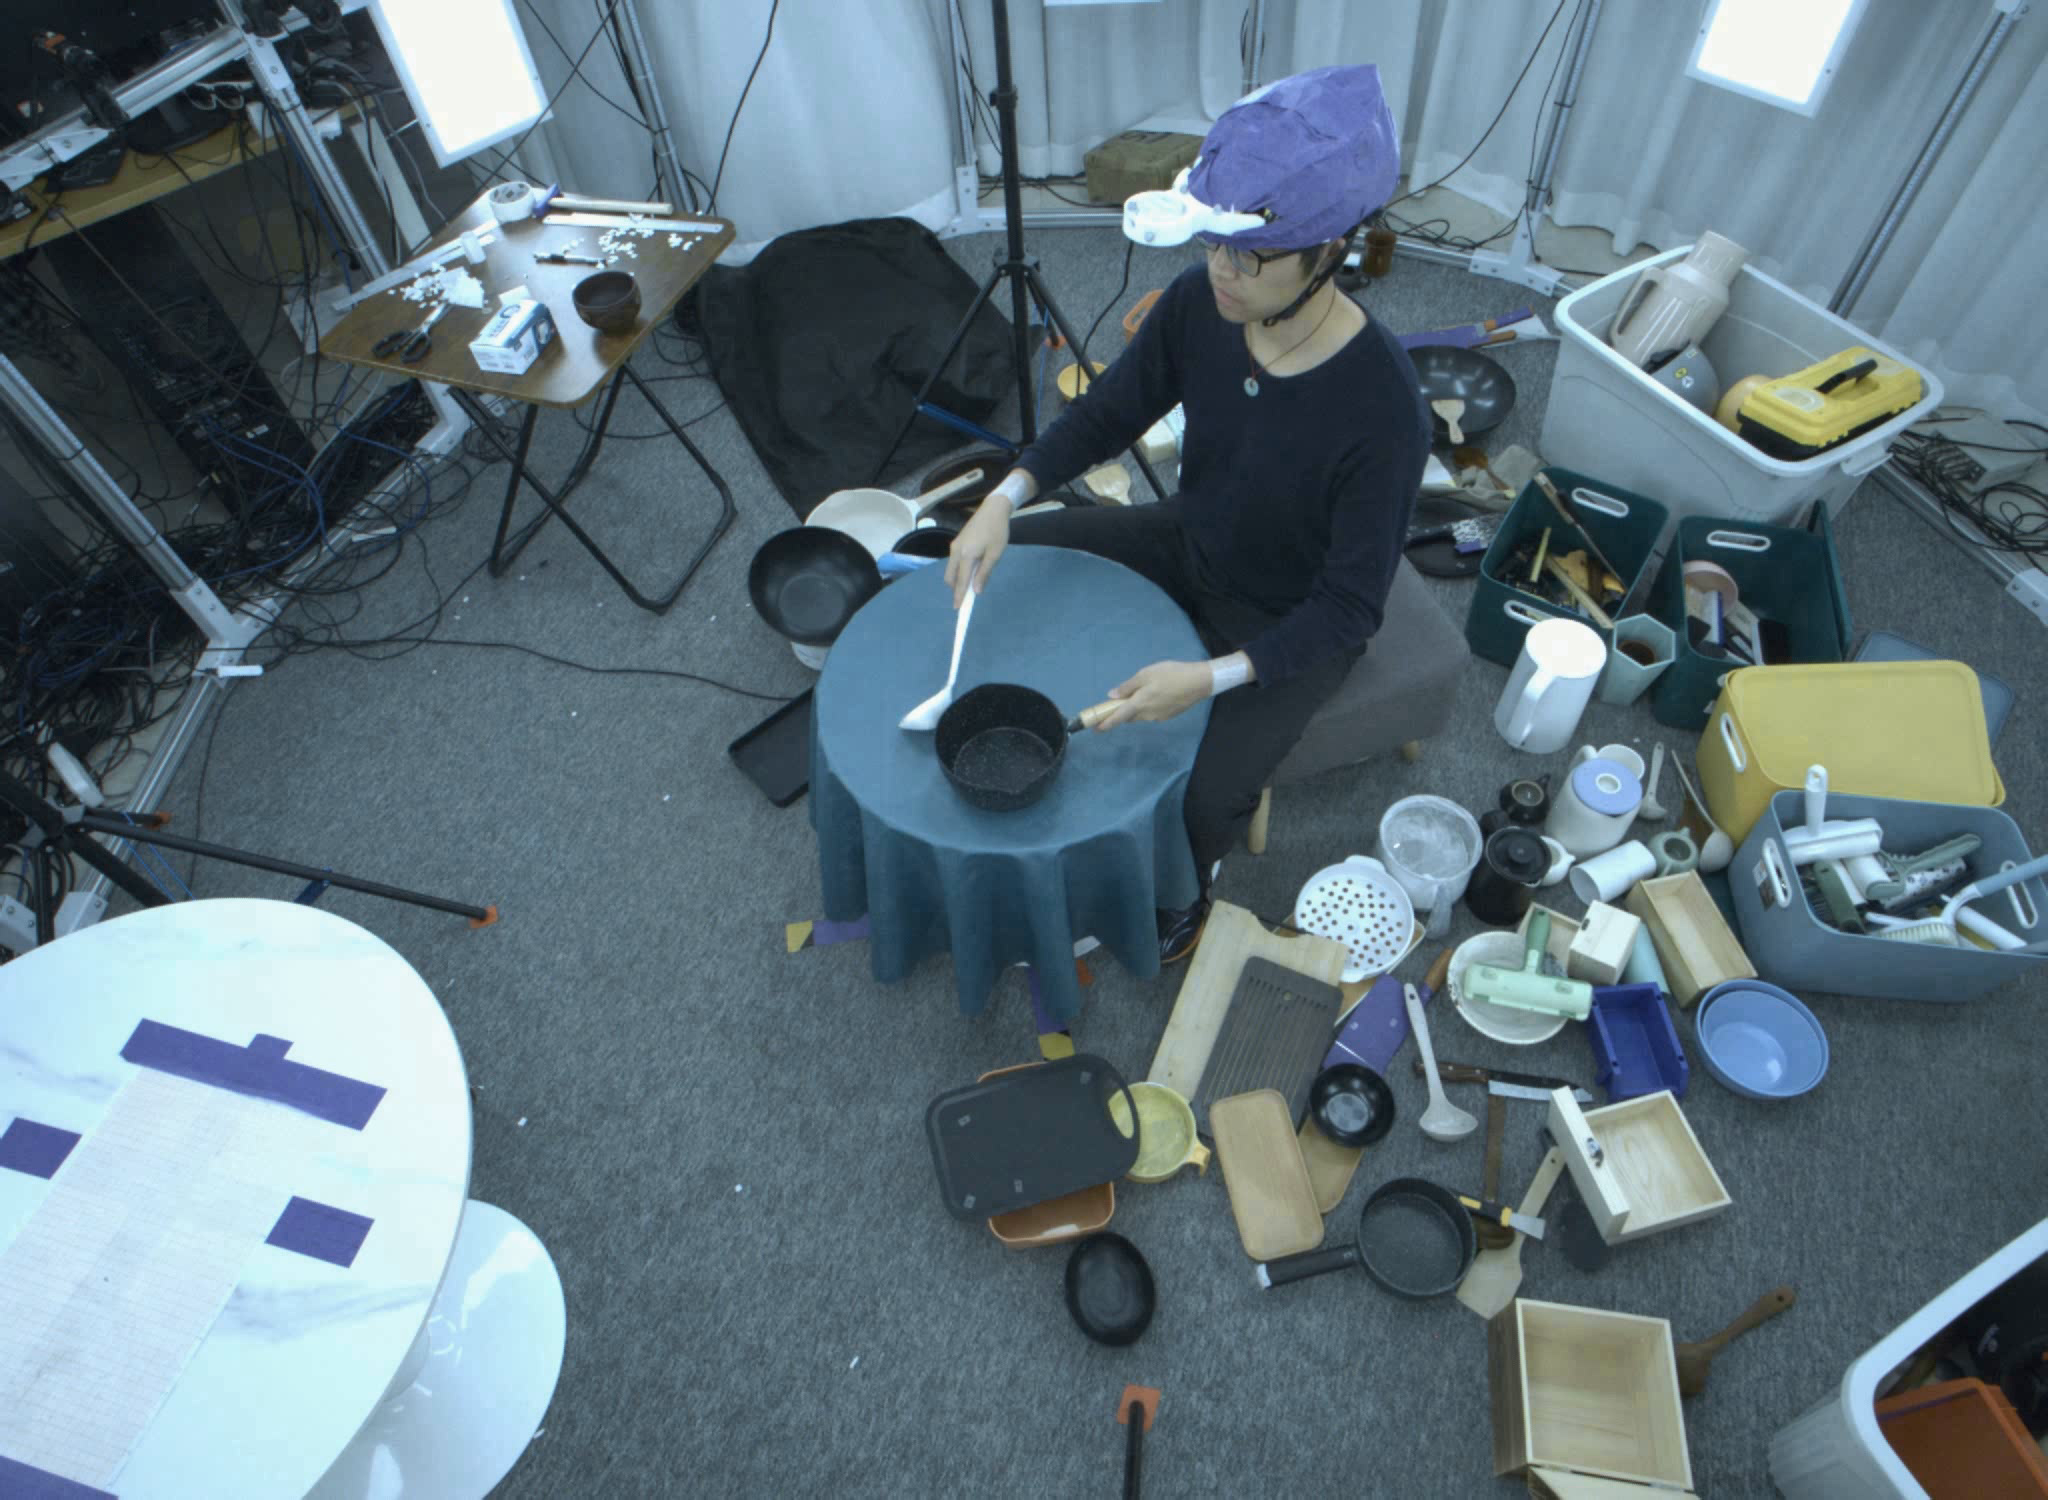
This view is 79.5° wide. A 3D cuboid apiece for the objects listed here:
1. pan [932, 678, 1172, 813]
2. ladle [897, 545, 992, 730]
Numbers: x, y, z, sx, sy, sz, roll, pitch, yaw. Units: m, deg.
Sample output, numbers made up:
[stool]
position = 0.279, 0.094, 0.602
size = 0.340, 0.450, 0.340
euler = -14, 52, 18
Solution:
[pan]
position = 0.044, -0.024, 1.736
size = 0.344, 0.109, 0.204
euler = -16, 55, -7
[ladle]
position = -0.117, -0.166, 1.804
size = 0.070, 0.089, 0.292
euler = 15, 87, -11
